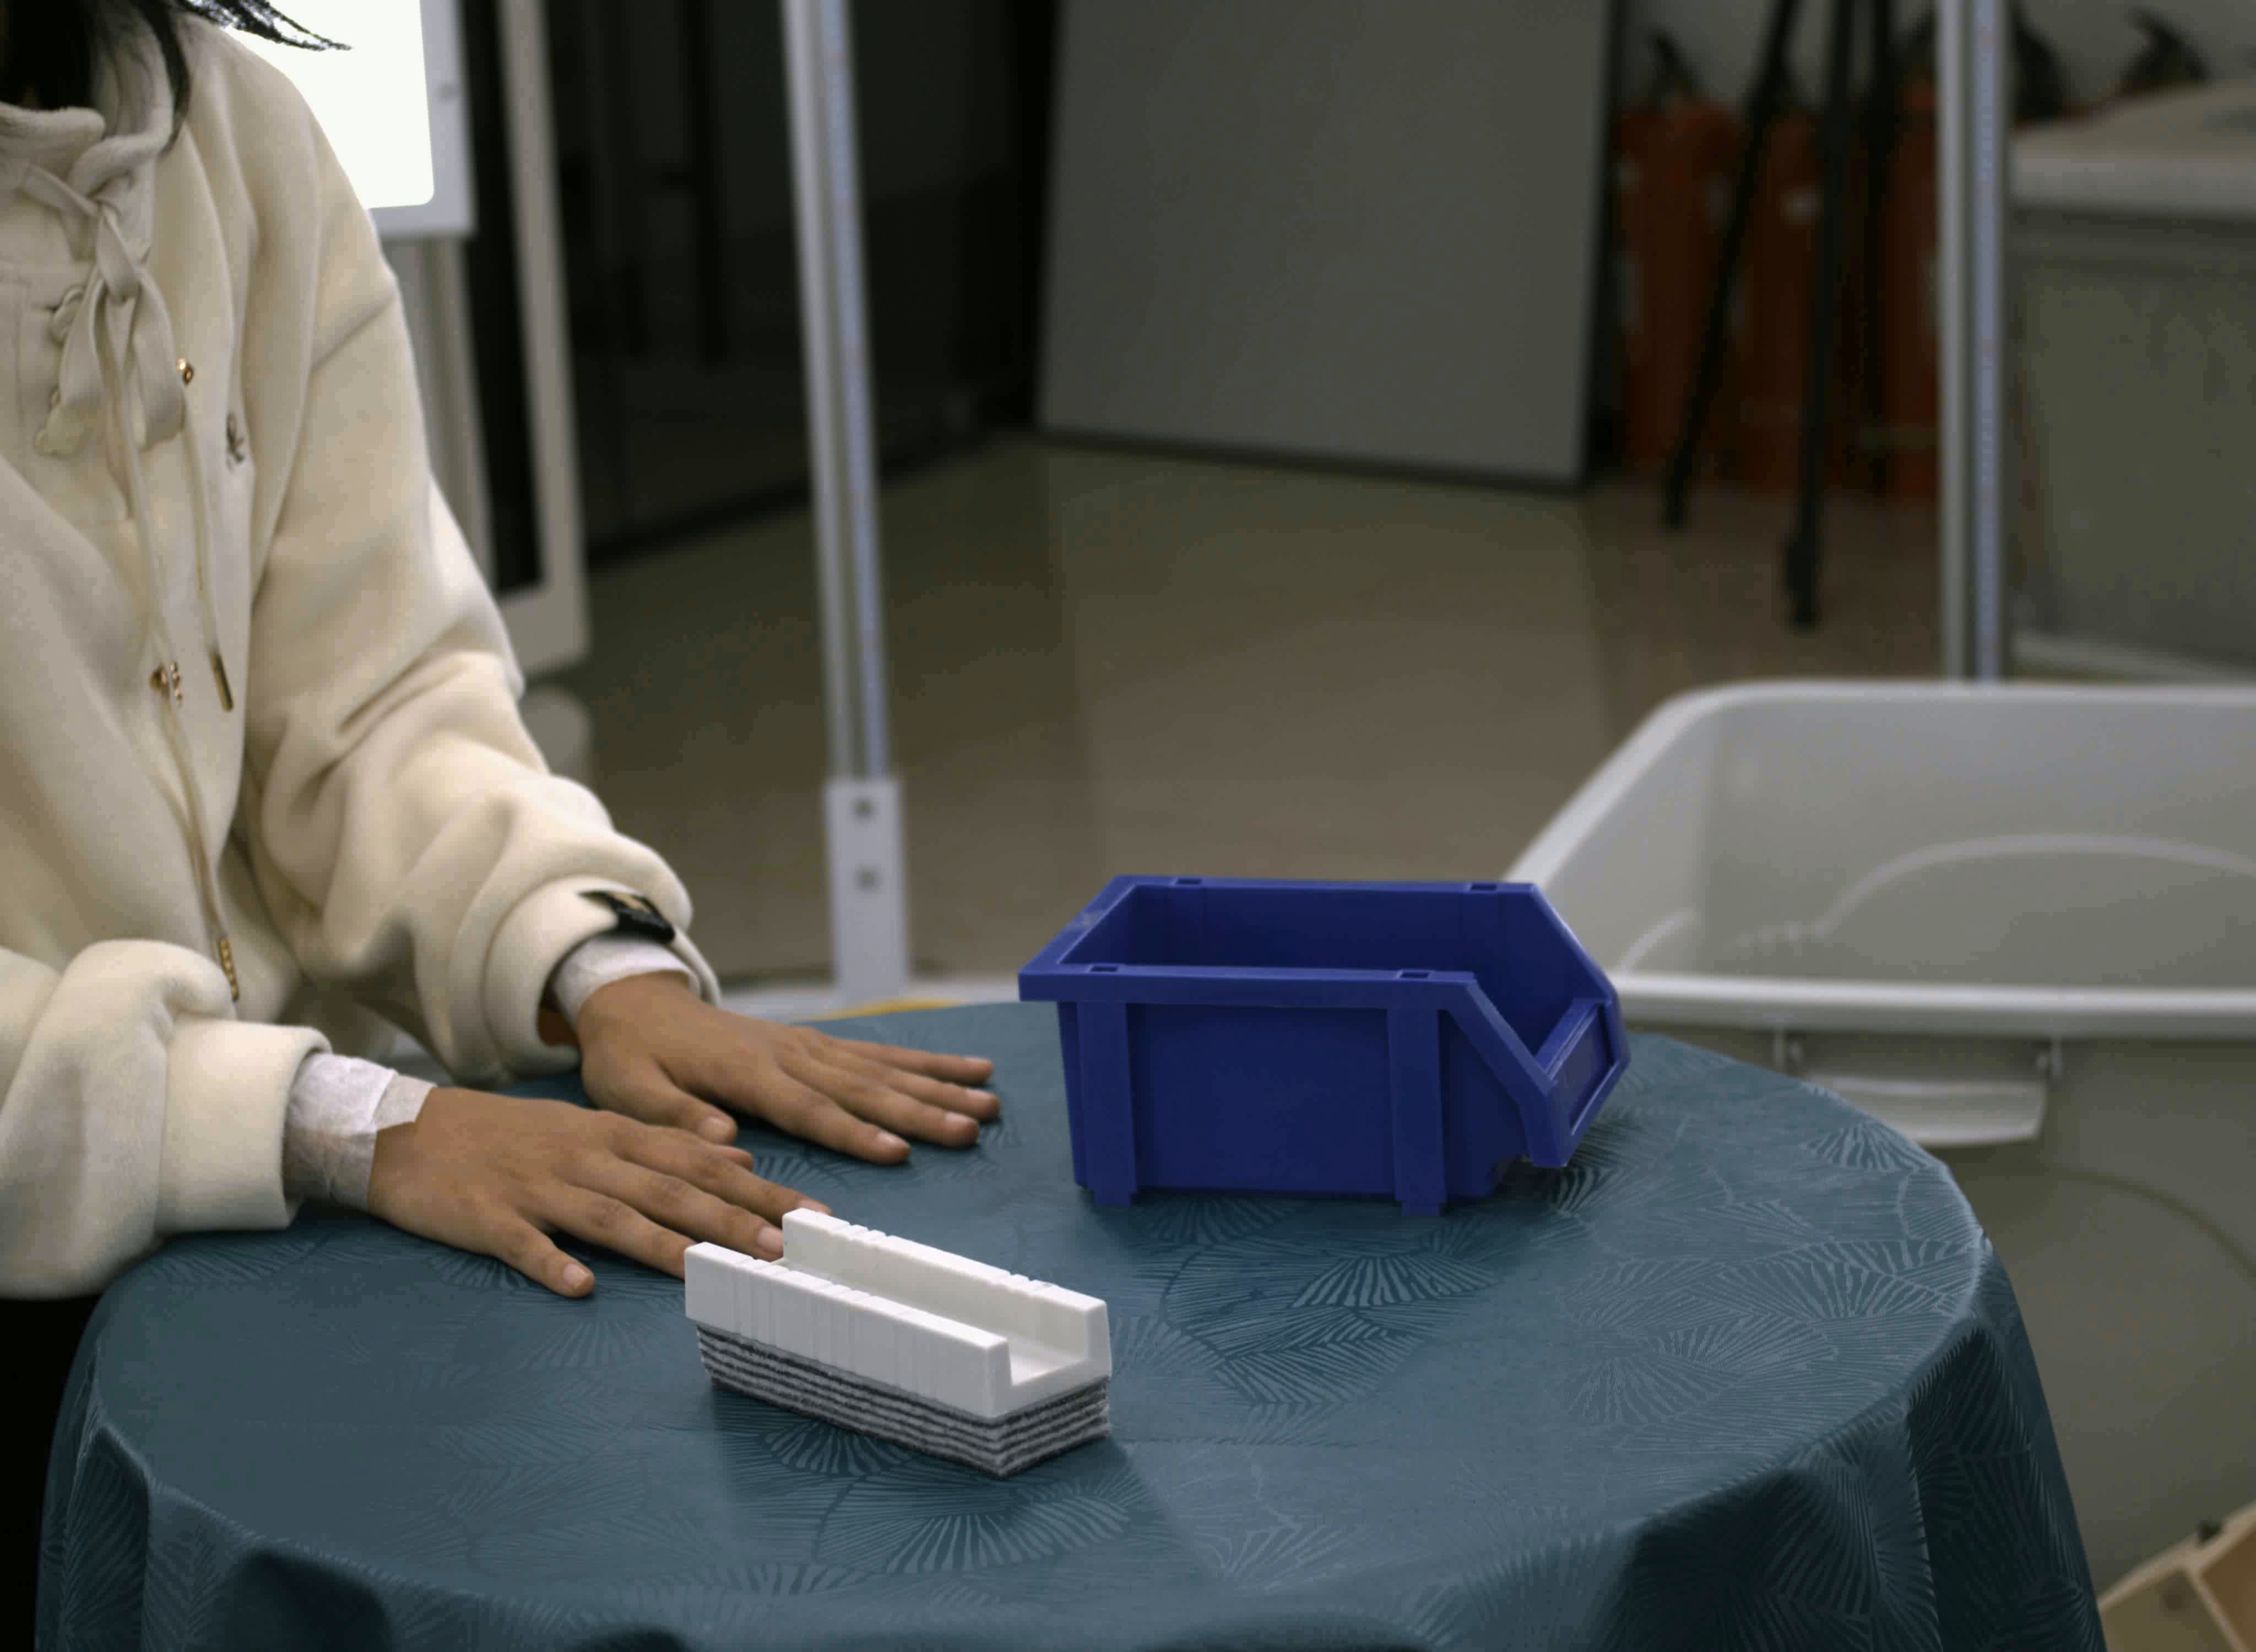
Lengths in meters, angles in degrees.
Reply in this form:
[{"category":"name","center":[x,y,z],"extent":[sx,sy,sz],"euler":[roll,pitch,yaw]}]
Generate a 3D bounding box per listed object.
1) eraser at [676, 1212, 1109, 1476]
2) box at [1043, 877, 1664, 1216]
[{"category":"eraser","center":[-0.069,0.150,1.573],"extent":[0.135,0.047,0.049],"euler":[11,22,43]},{"category":"box","center":[0.078,0.070,1.780],"extent":[0.179,0.083,0.123],"euler":[-2,14,20]}]
